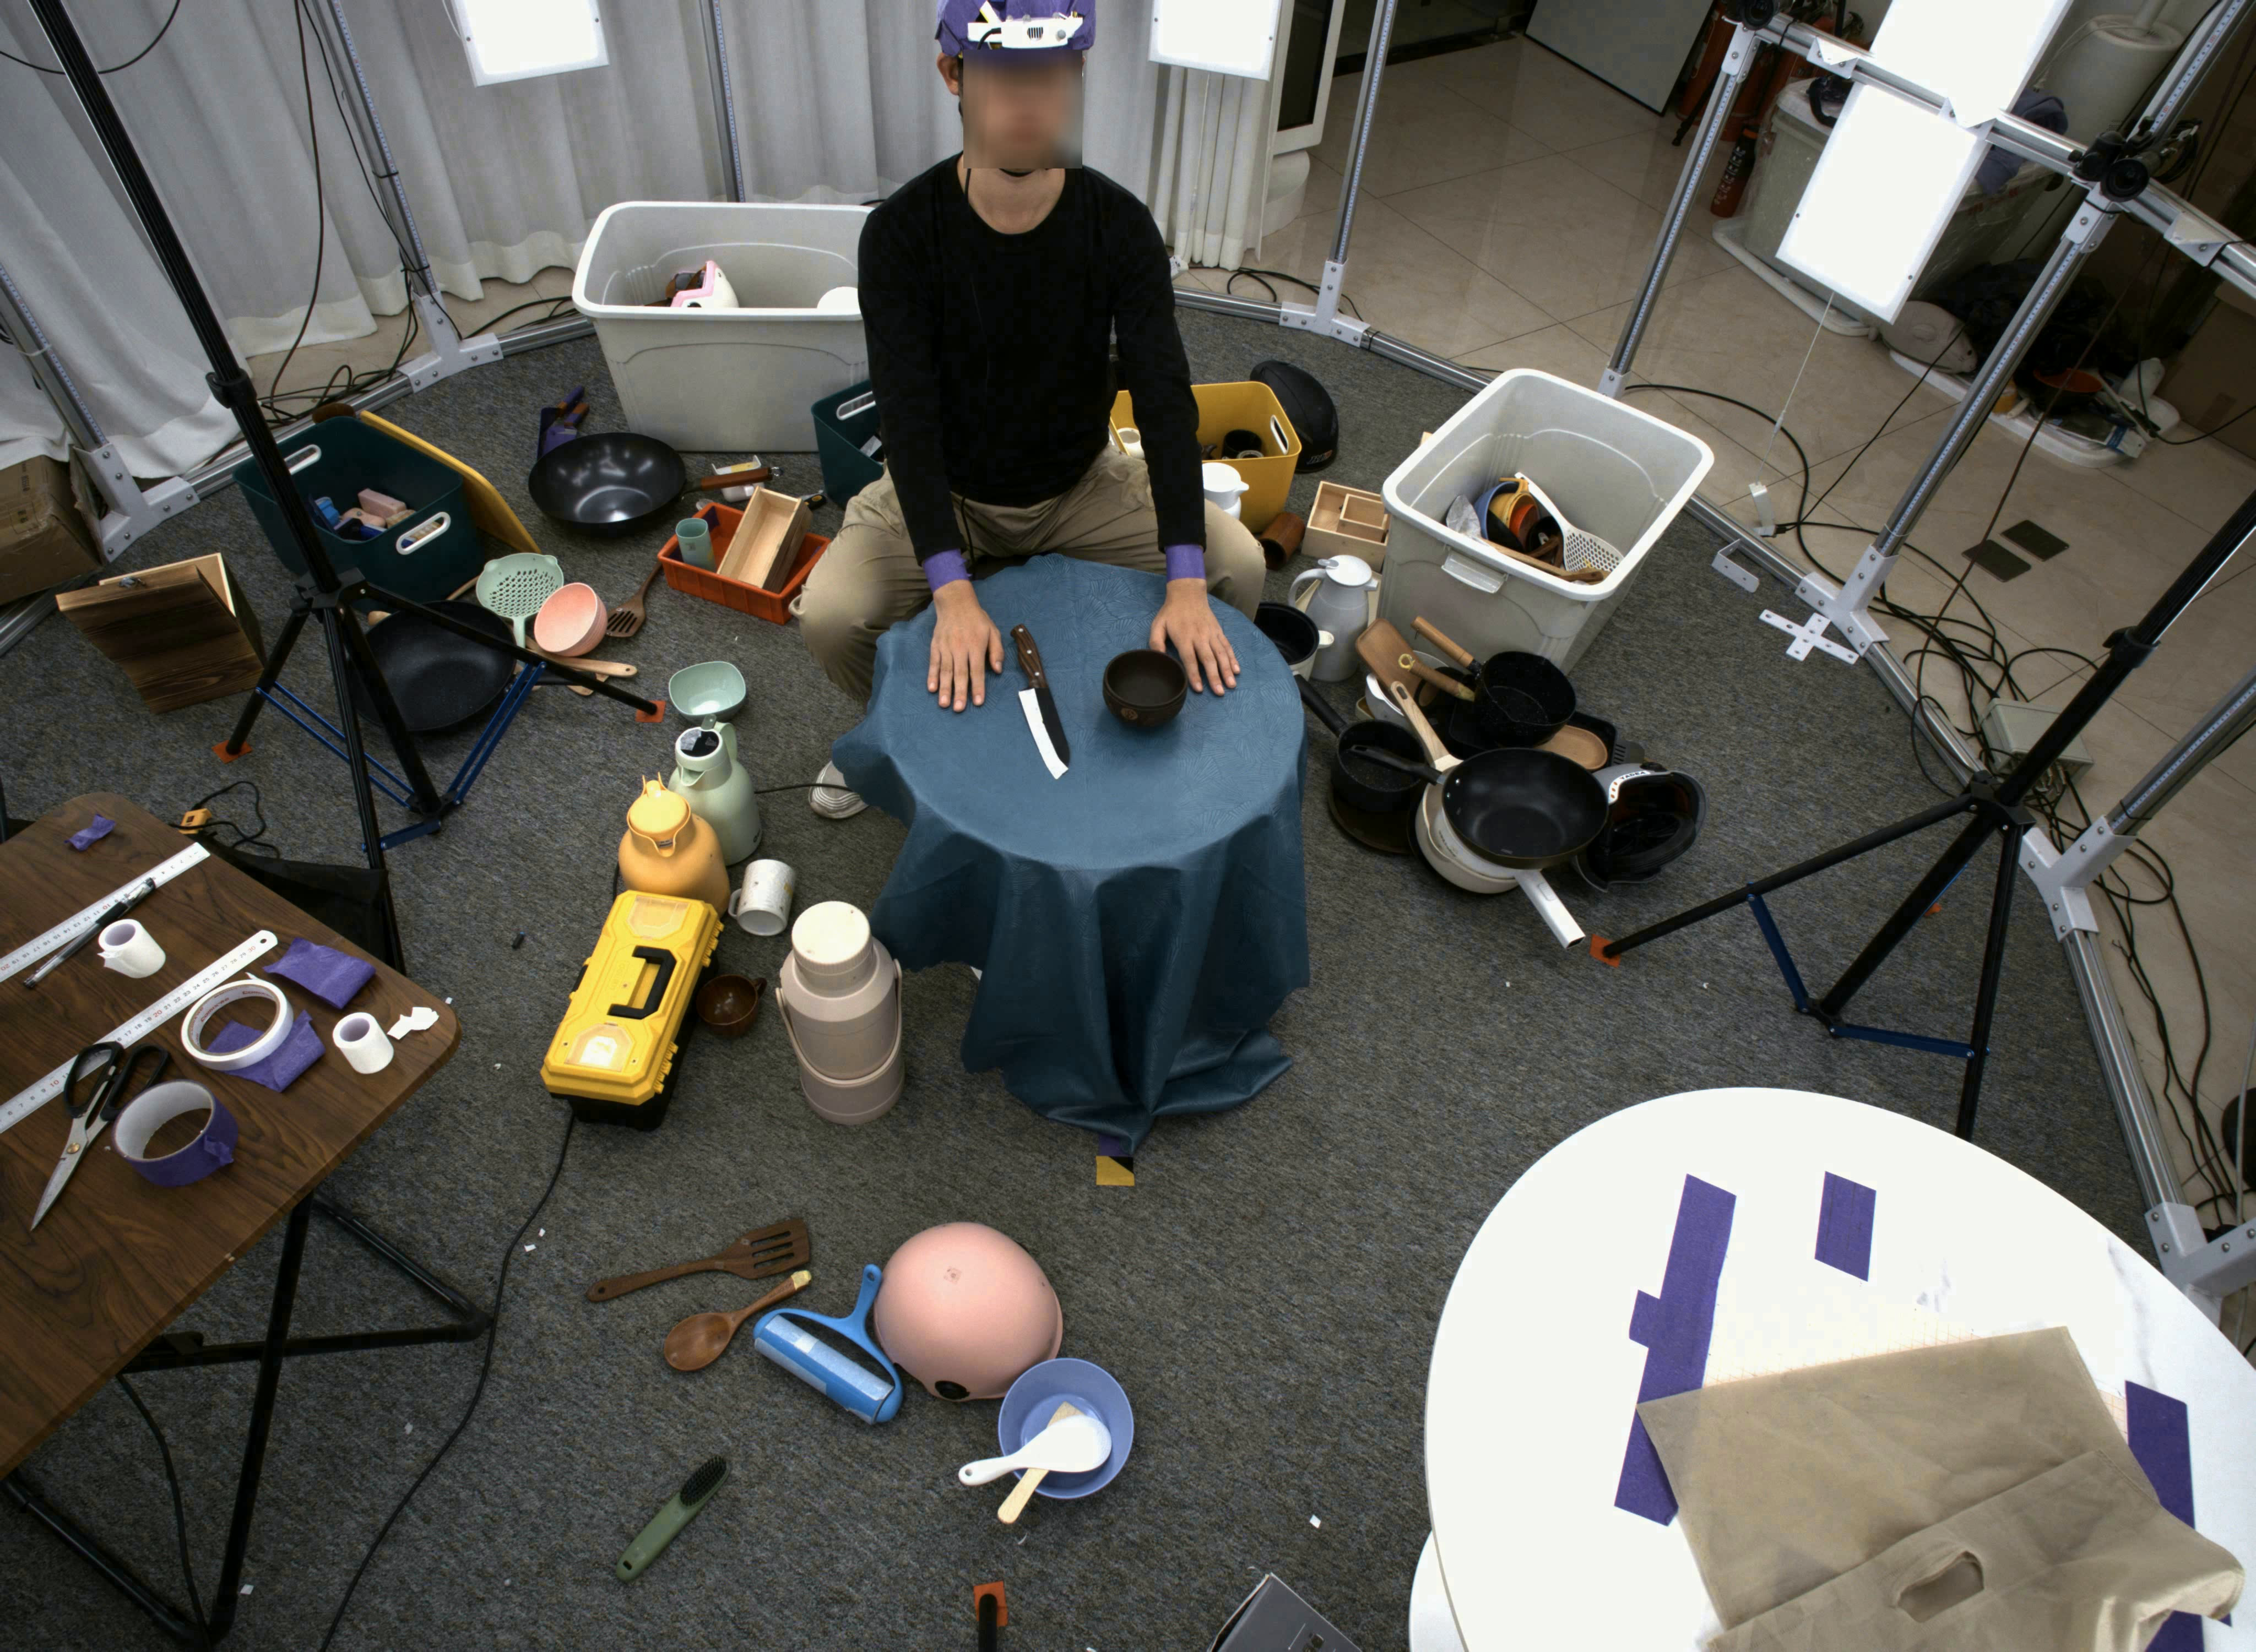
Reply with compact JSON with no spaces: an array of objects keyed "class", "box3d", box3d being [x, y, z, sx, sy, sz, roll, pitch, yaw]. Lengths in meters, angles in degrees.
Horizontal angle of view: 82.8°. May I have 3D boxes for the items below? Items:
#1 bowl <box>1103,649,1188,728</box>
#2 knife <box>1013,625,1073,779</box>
[{"class":"bowl","box3d":[0.023,-0.184,1.785,0.118,0.068,0.121,1,48,-1]},{"class":"knife","box3d":[-0.124,-0.177,1.806,0.050,0.019,0.296,-11,53,-7]}]
